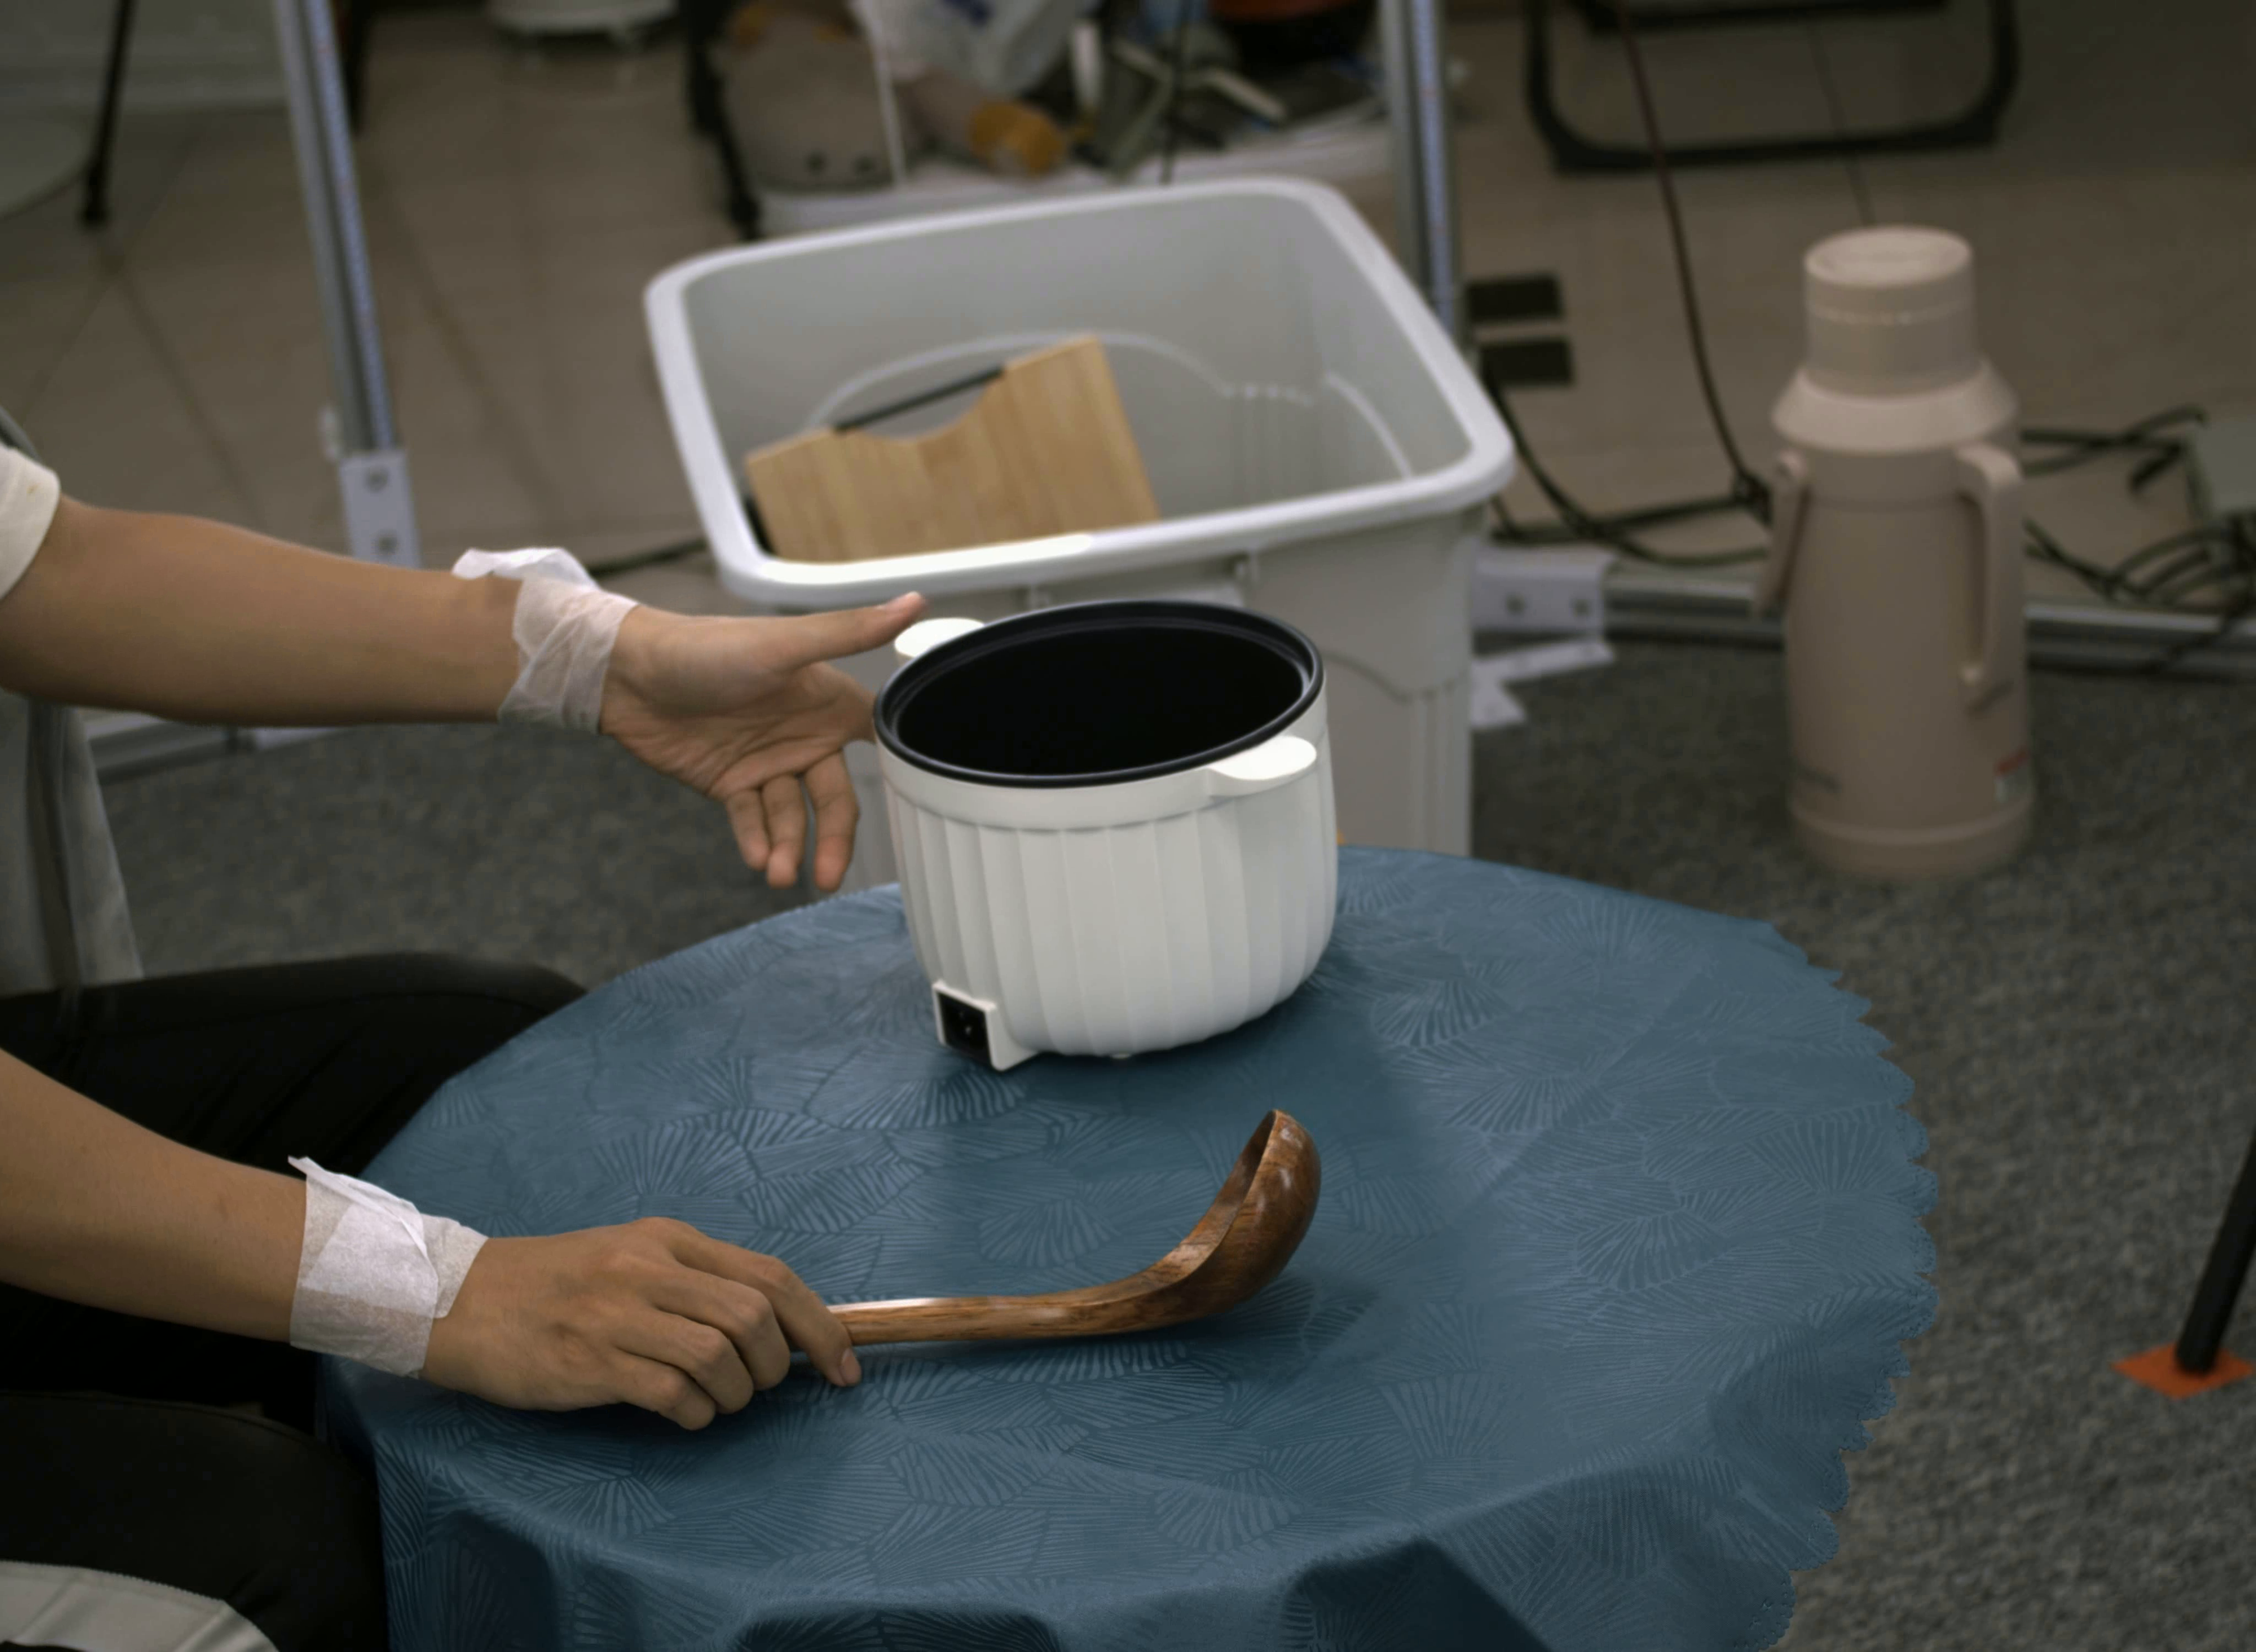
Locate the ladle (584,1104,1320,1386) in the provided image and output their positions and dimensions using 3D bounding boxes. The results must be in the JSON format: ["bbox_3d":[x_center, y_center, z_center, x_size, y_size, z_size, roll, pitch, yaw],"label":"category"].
[{"bbox_3d":[-0.065,0.151,2.049,0.273,0.077,0.081,-6,3,3],"label":"ladle"}]

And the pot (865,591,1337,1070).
[{"bbox_3d":[-0.002,0.001,2.280,0.189,0.145,0.238,-29,34,-32],"label":"pot"}]
